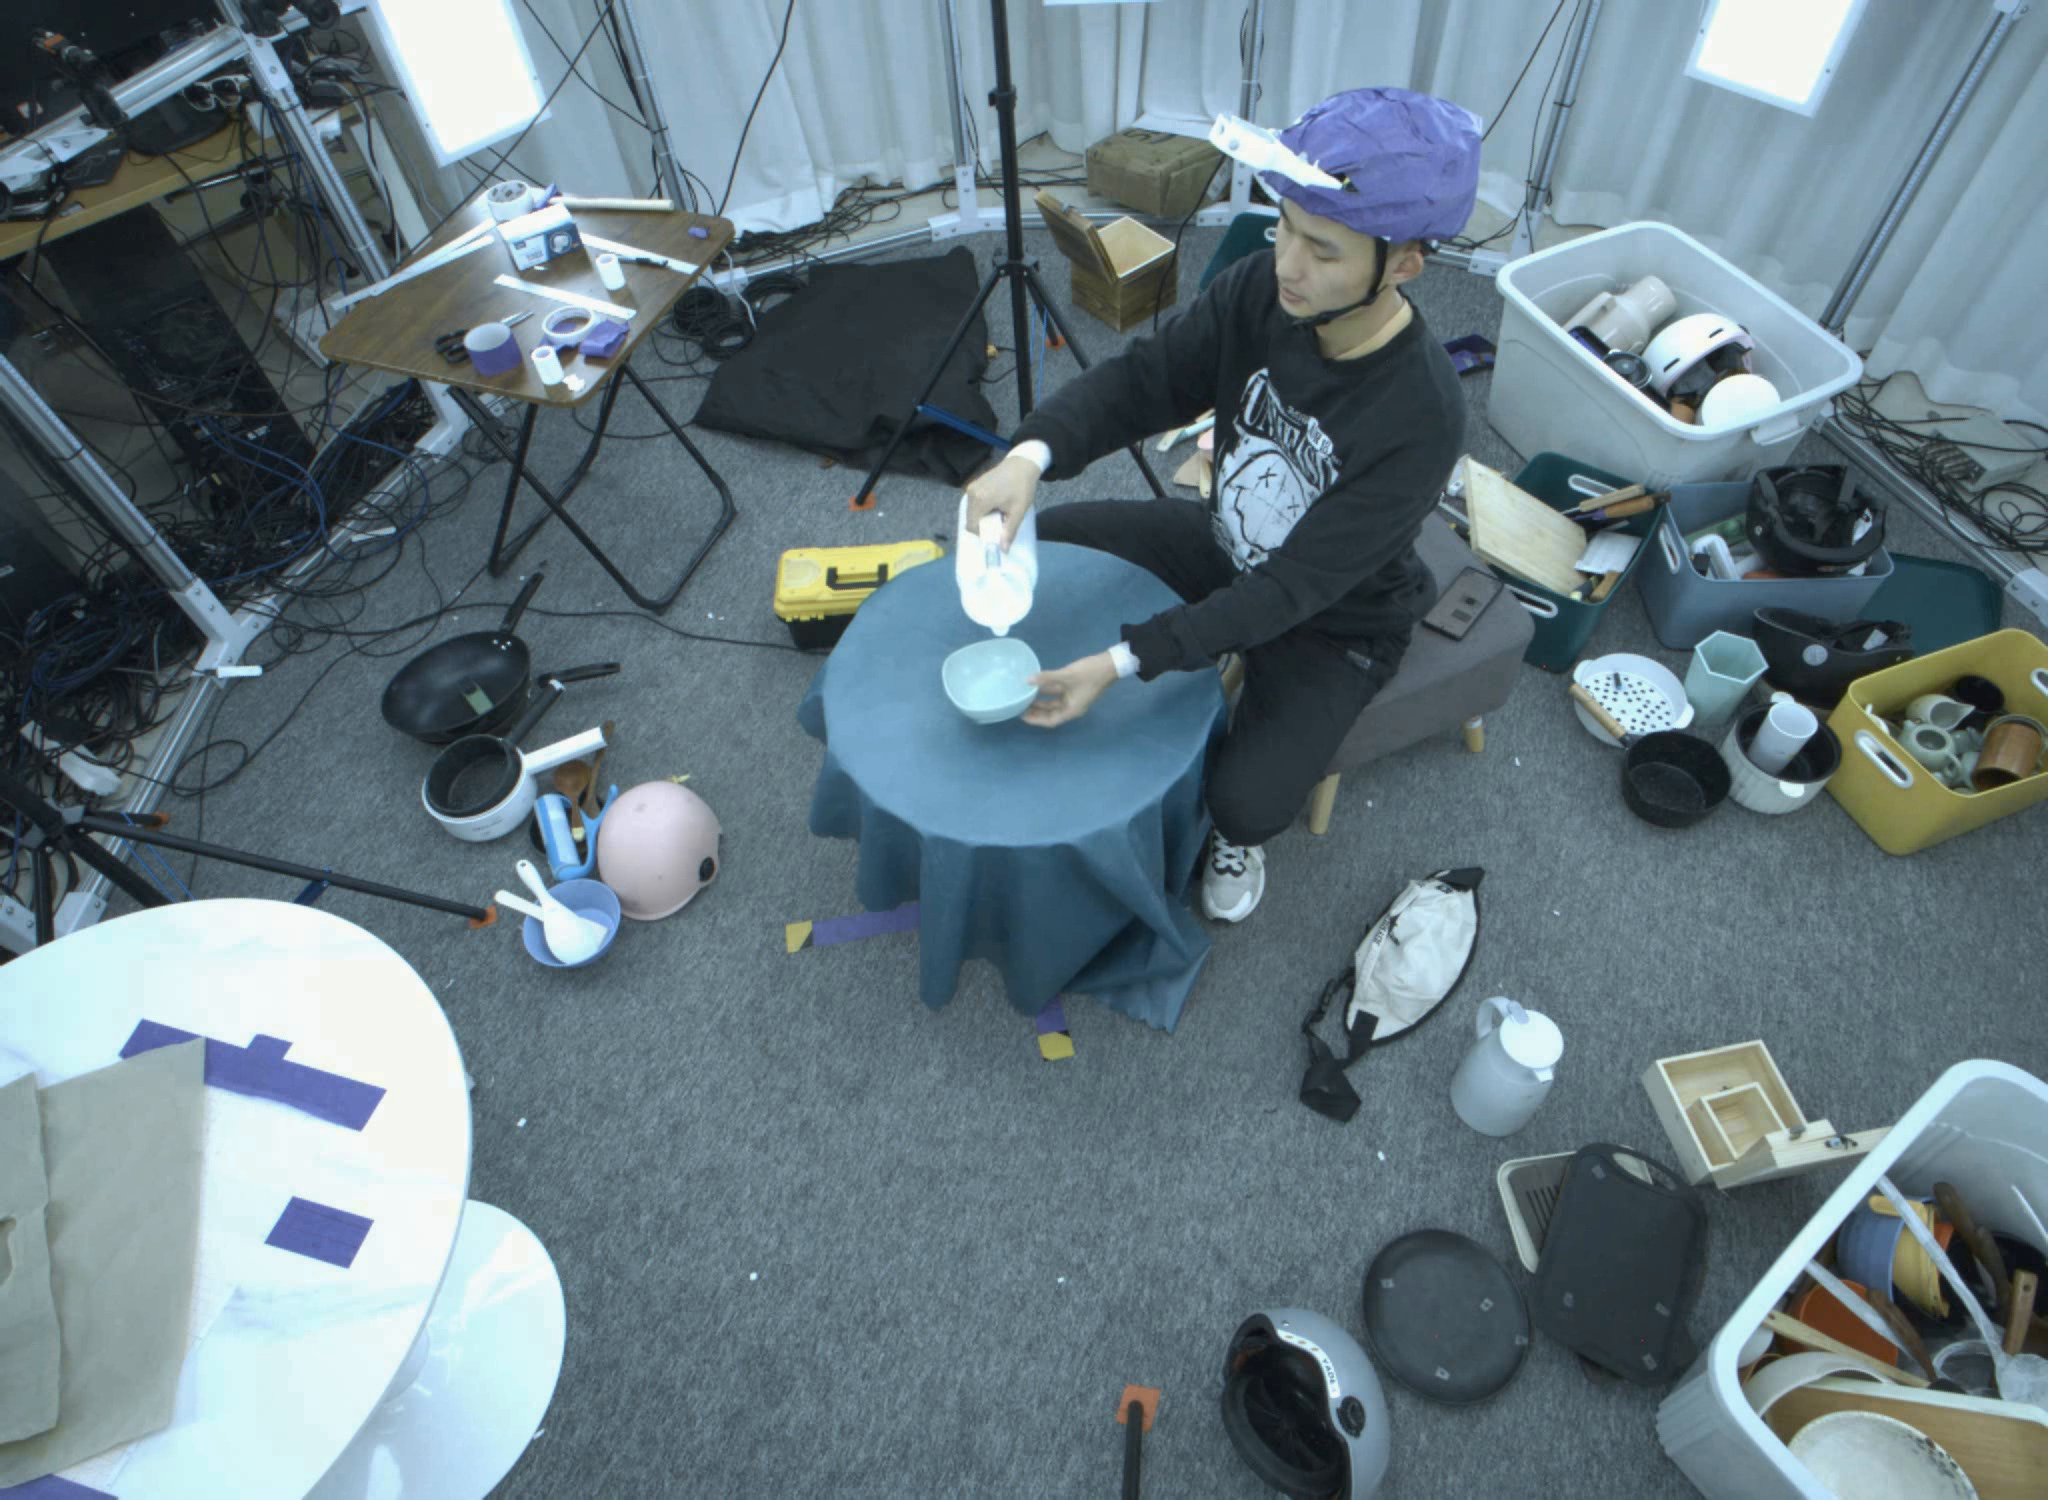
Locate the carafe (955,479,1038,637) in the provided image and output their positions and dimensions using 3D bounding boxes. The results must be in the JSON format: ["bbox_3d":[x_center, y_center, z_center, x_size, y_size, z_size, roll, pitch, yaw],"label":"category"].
[{"bbox_3d":[-0.045,-0.302,1.766,0.123,0.175,0.266,-4,37,4],"label":"carafe"}]

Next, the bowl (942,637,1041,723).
[{"bbox_3d":[-0.044,-0.091,1.771,0.151,0.059,0.150,-2,50,4],"label":"bowl"}]
